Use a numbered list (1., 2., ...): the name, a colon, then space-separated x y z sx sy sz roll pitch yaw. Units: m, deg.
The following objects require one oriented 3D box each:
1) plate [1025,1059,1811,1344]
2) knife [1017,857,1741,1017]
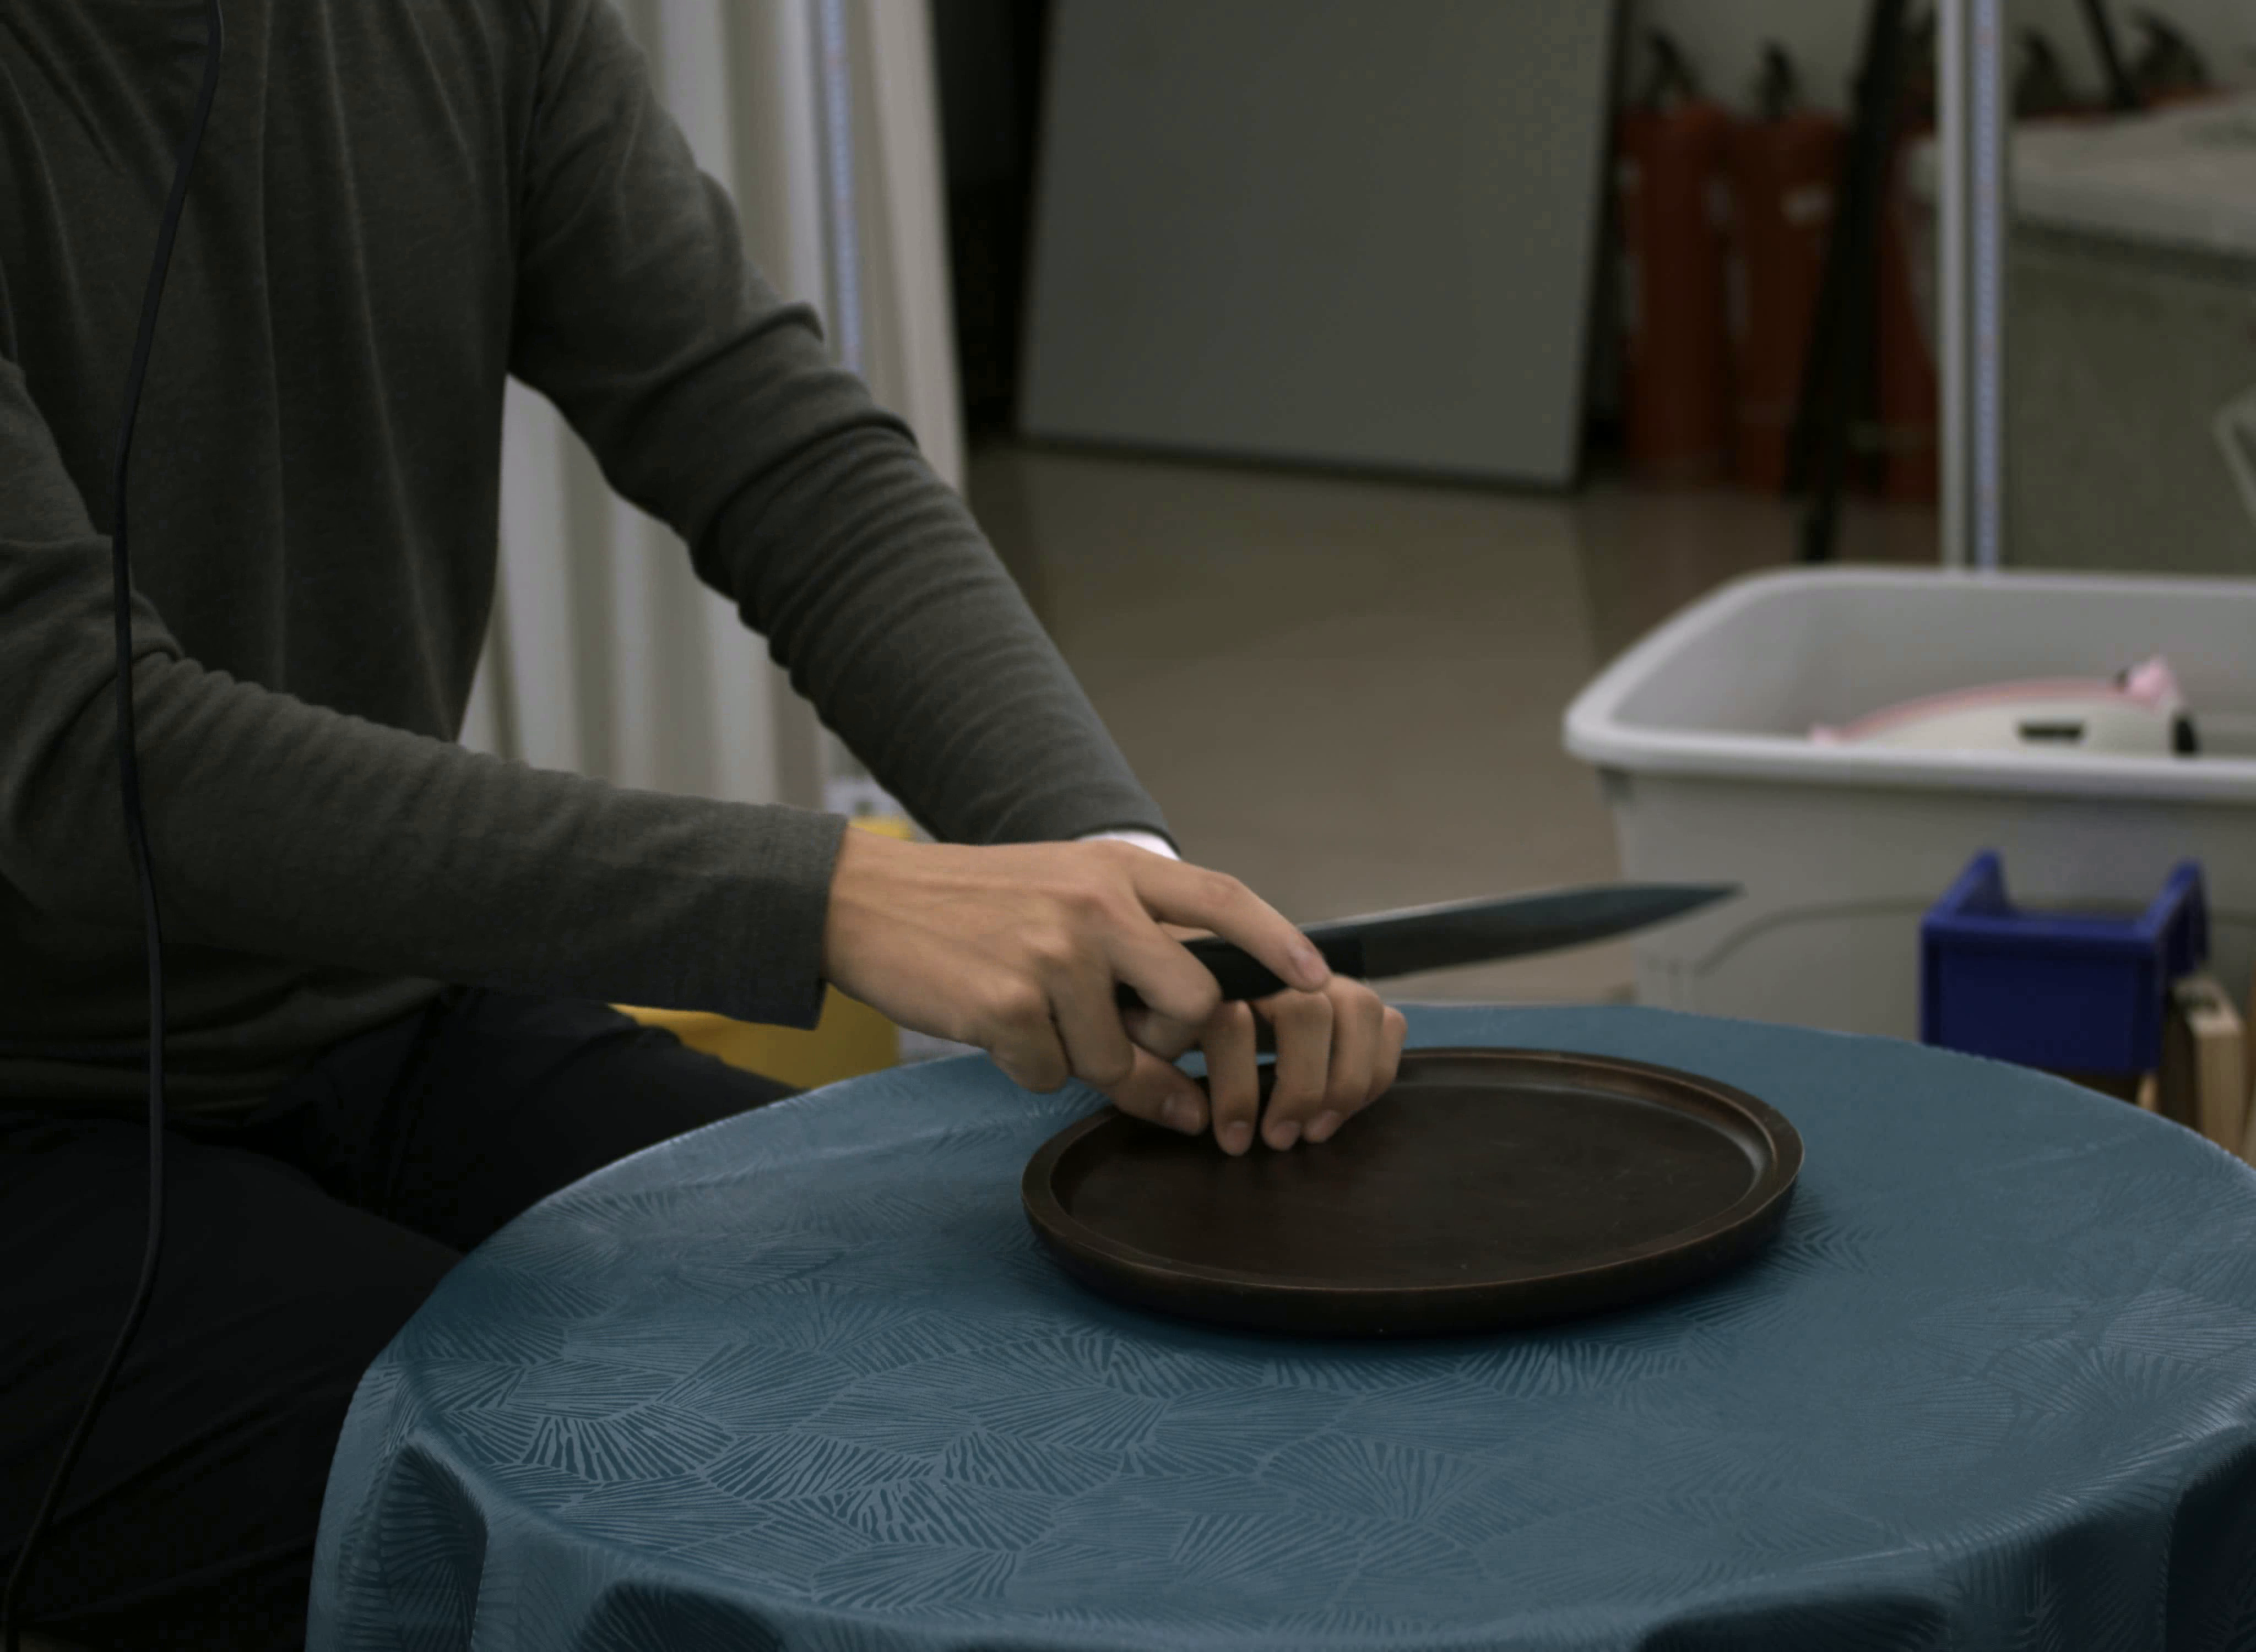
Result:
1. plate: 0.092 0.117 1.718 0.251 0.029 0.255 -3 14 0
2. knife: 0.078 0.031 1.712 0.236 0.024 0.016 -10 15 10
